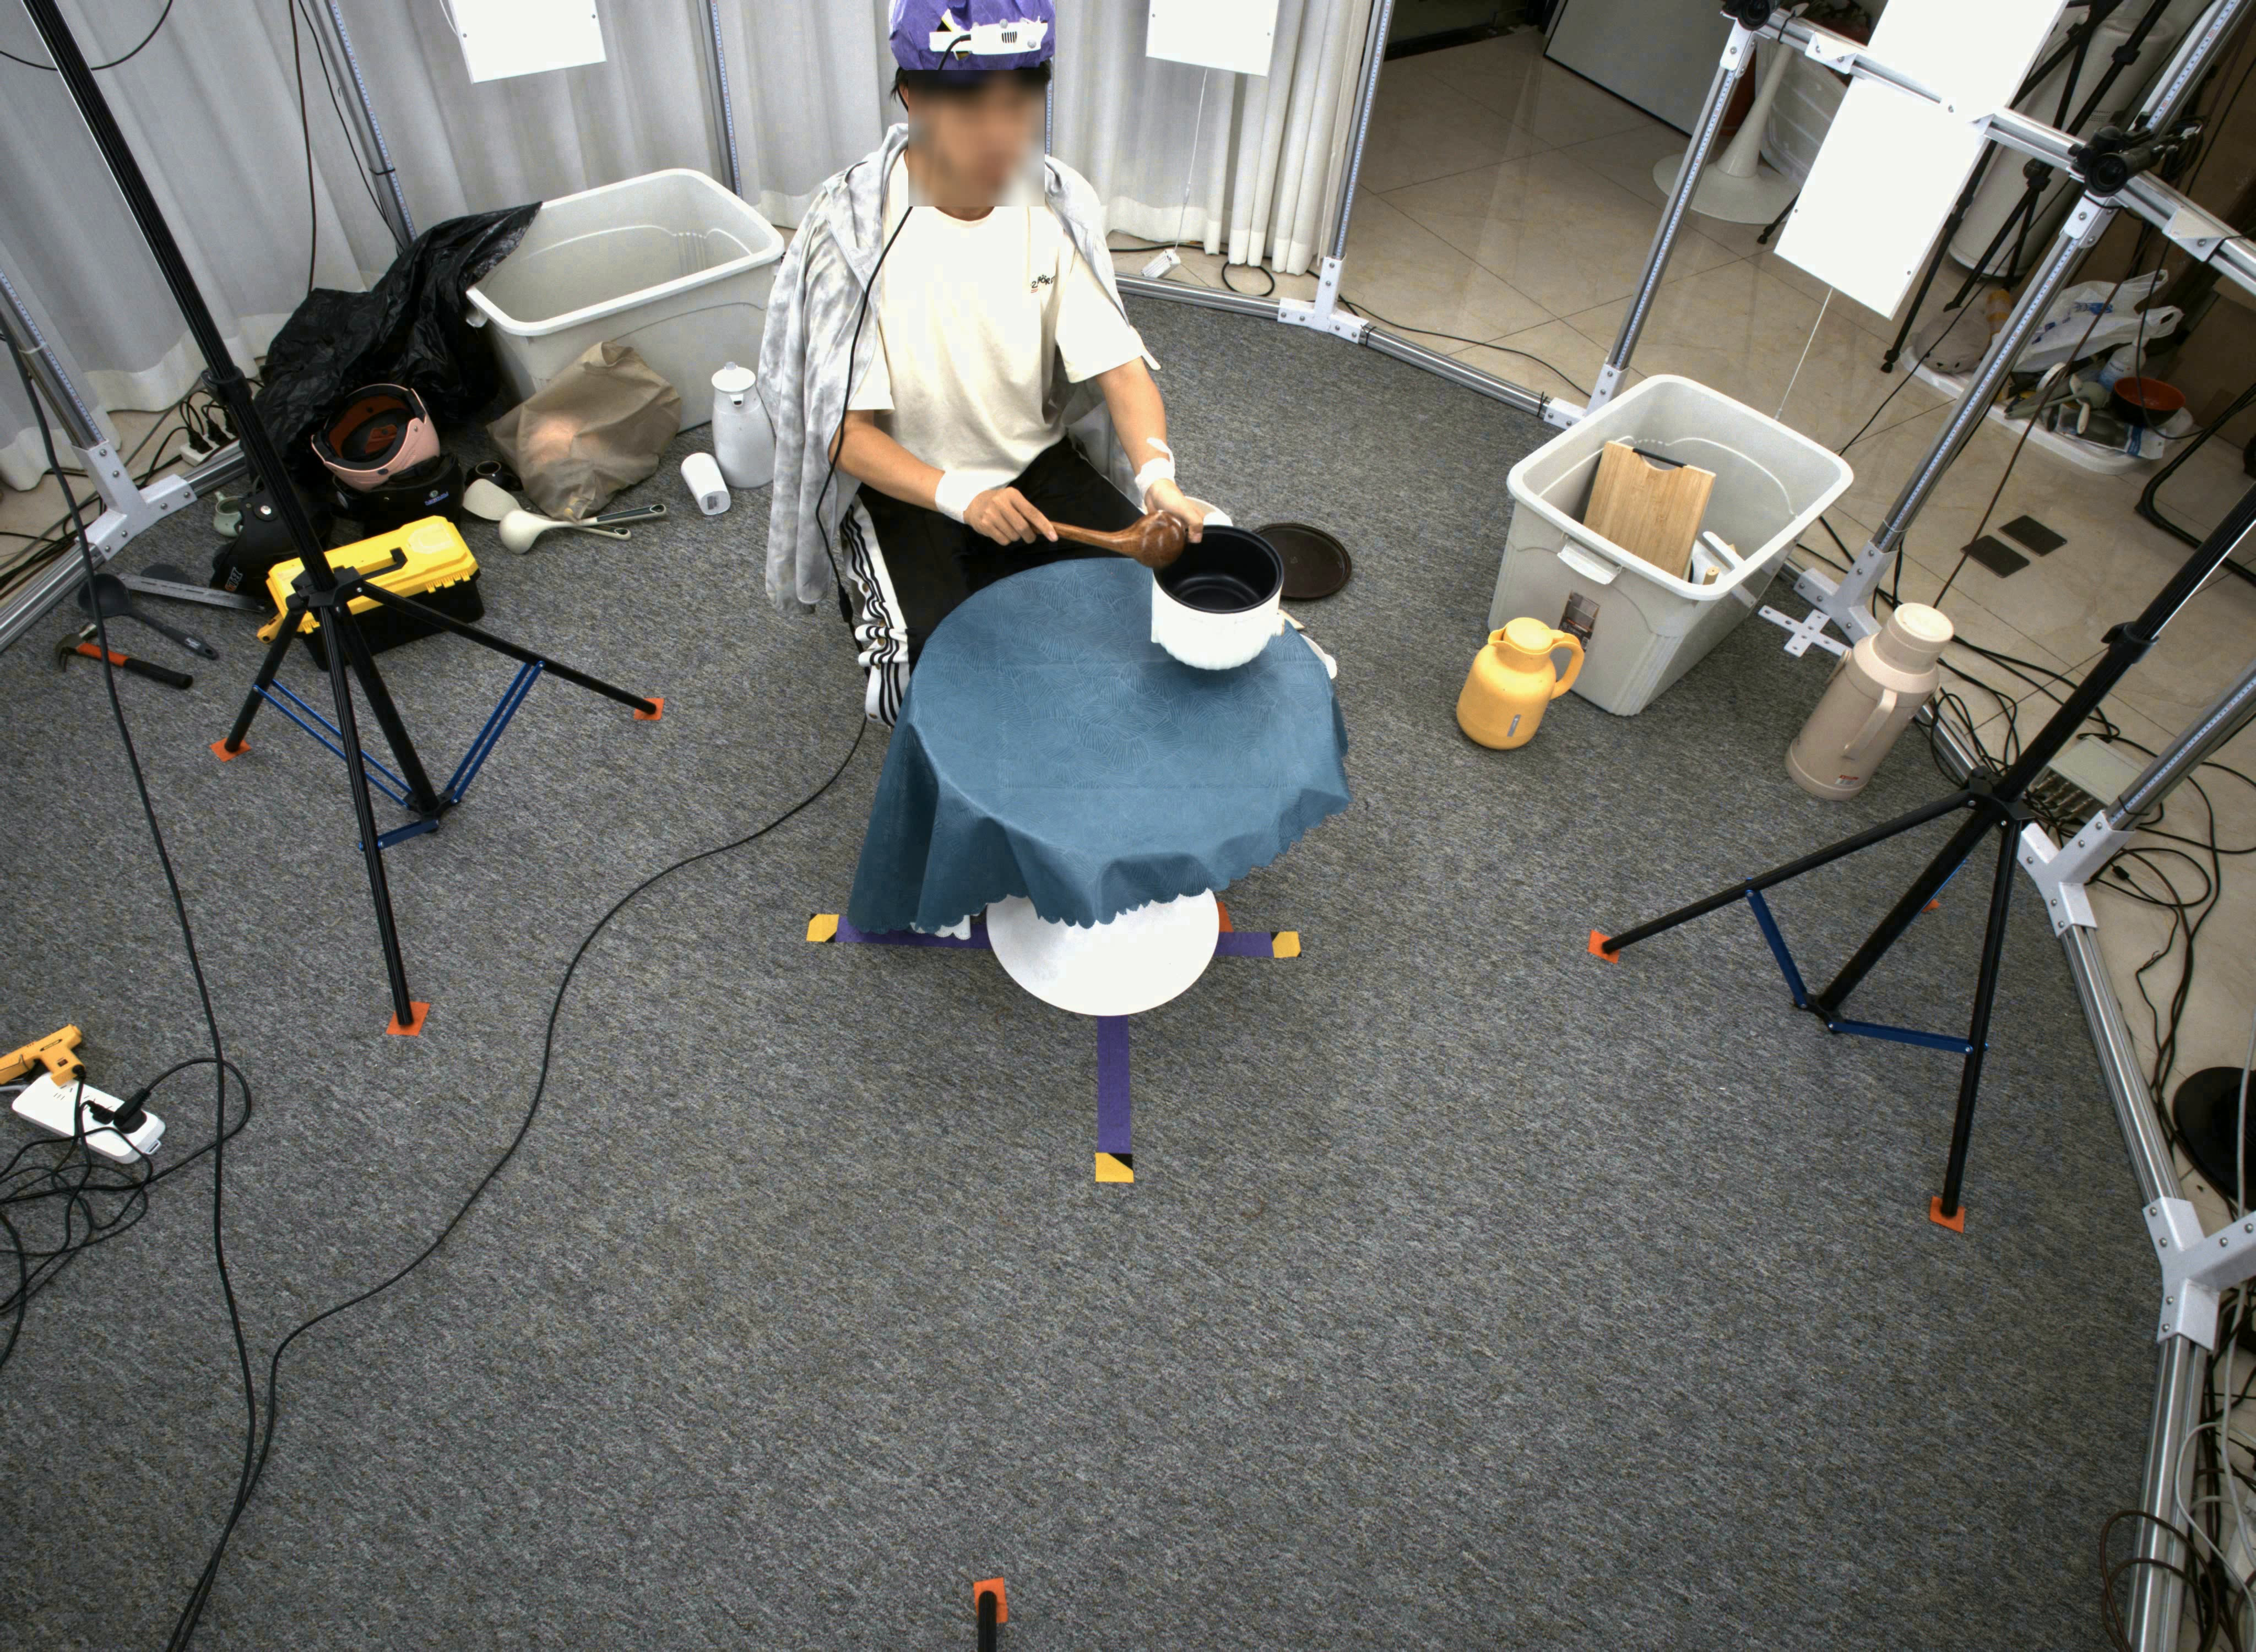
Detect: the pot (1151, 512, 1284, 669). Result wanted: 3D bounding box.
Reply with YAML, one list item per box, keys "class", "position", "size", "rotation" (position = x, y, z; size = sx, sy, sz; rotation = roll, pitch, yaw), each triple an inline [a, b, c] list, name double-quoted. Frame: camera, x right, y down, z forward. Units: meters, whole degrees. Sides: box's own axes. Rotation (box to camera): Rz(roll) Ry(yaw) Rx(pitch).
- class: "pot"
  position: [0.128, -0.319, 1.818]
  size: [0.190, 0.139, 0.246]
  rotation: [0, 52, 3]

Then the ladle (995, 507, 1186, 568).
- class: "ladle"
  position: [-0.051, -0.413, 1.787]
  size: [0.276, 0.080, 0.077]
  rotation: [15, 30, 27]
